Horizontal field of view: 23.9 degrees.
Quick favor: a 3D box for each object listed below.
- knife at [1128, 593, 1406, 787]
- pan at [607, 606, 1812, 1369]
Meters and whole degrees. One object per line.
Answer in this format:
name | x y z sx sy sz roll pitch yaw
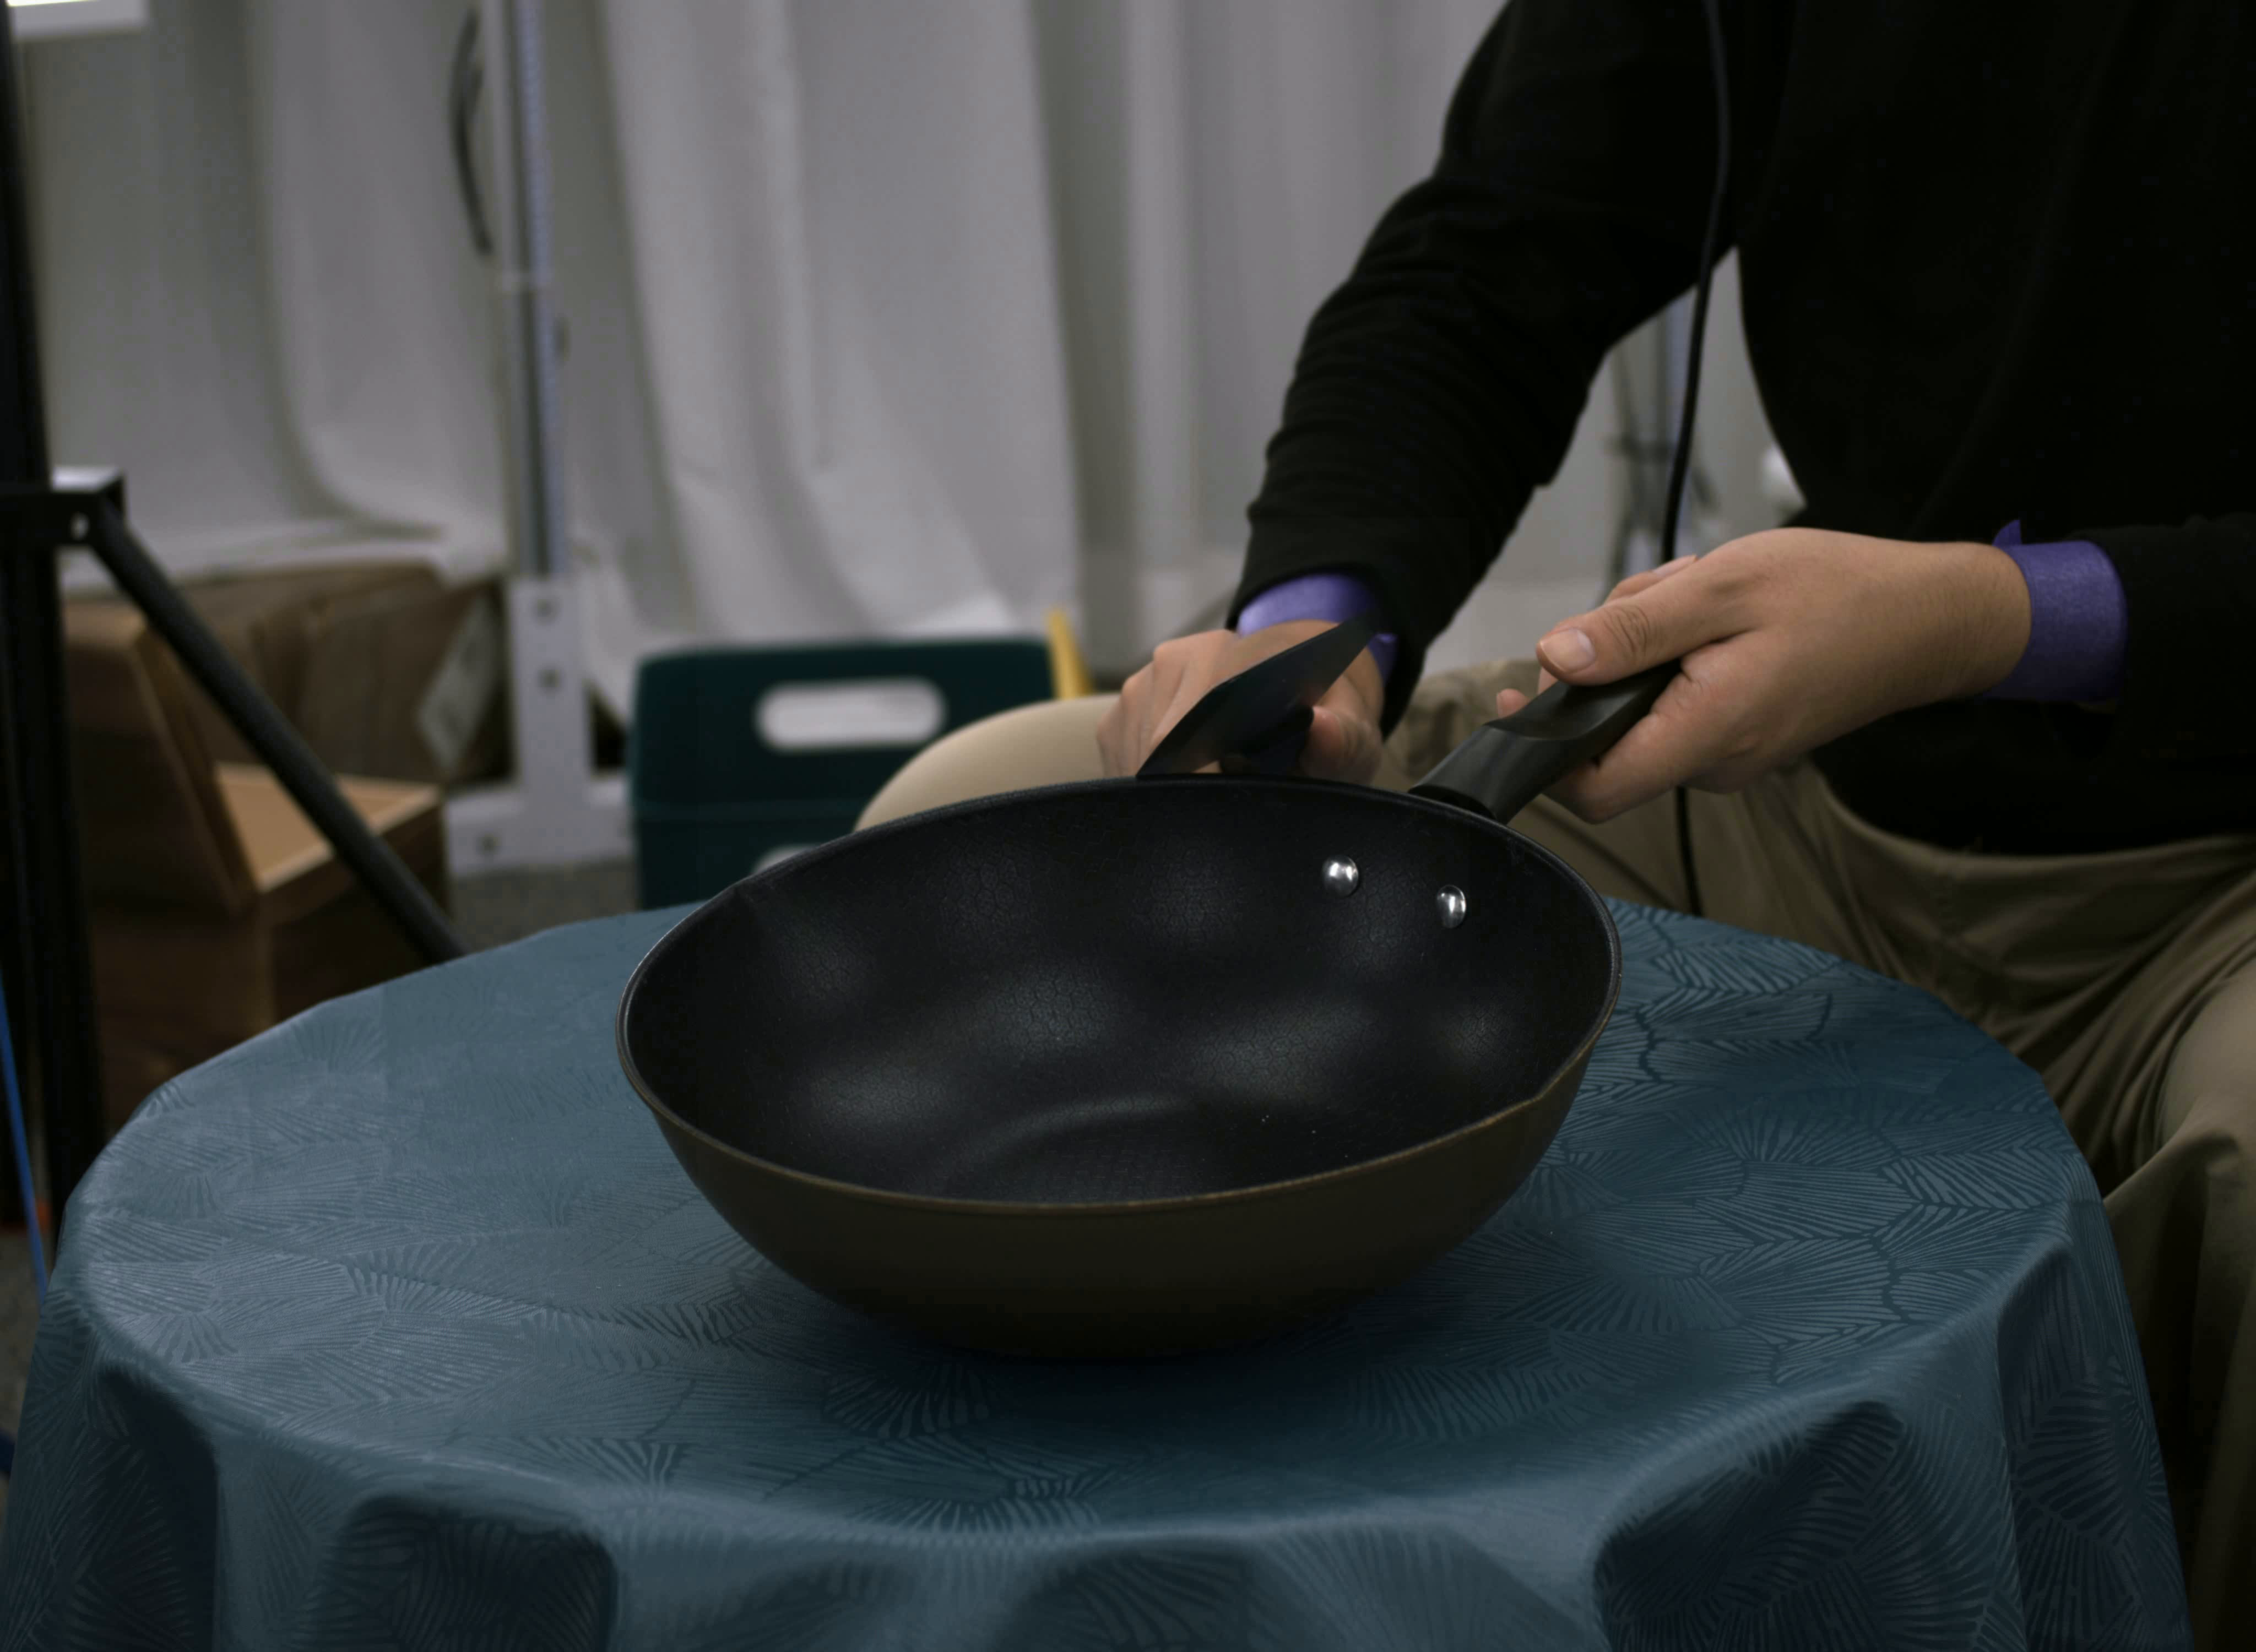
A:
knife | 0.035 -0.028 1.625 0.080 0.021 0.302 -25 -6 -6
pan | 0.056 0.045 1.542 0.294 0.086 0.454 14 30 39
